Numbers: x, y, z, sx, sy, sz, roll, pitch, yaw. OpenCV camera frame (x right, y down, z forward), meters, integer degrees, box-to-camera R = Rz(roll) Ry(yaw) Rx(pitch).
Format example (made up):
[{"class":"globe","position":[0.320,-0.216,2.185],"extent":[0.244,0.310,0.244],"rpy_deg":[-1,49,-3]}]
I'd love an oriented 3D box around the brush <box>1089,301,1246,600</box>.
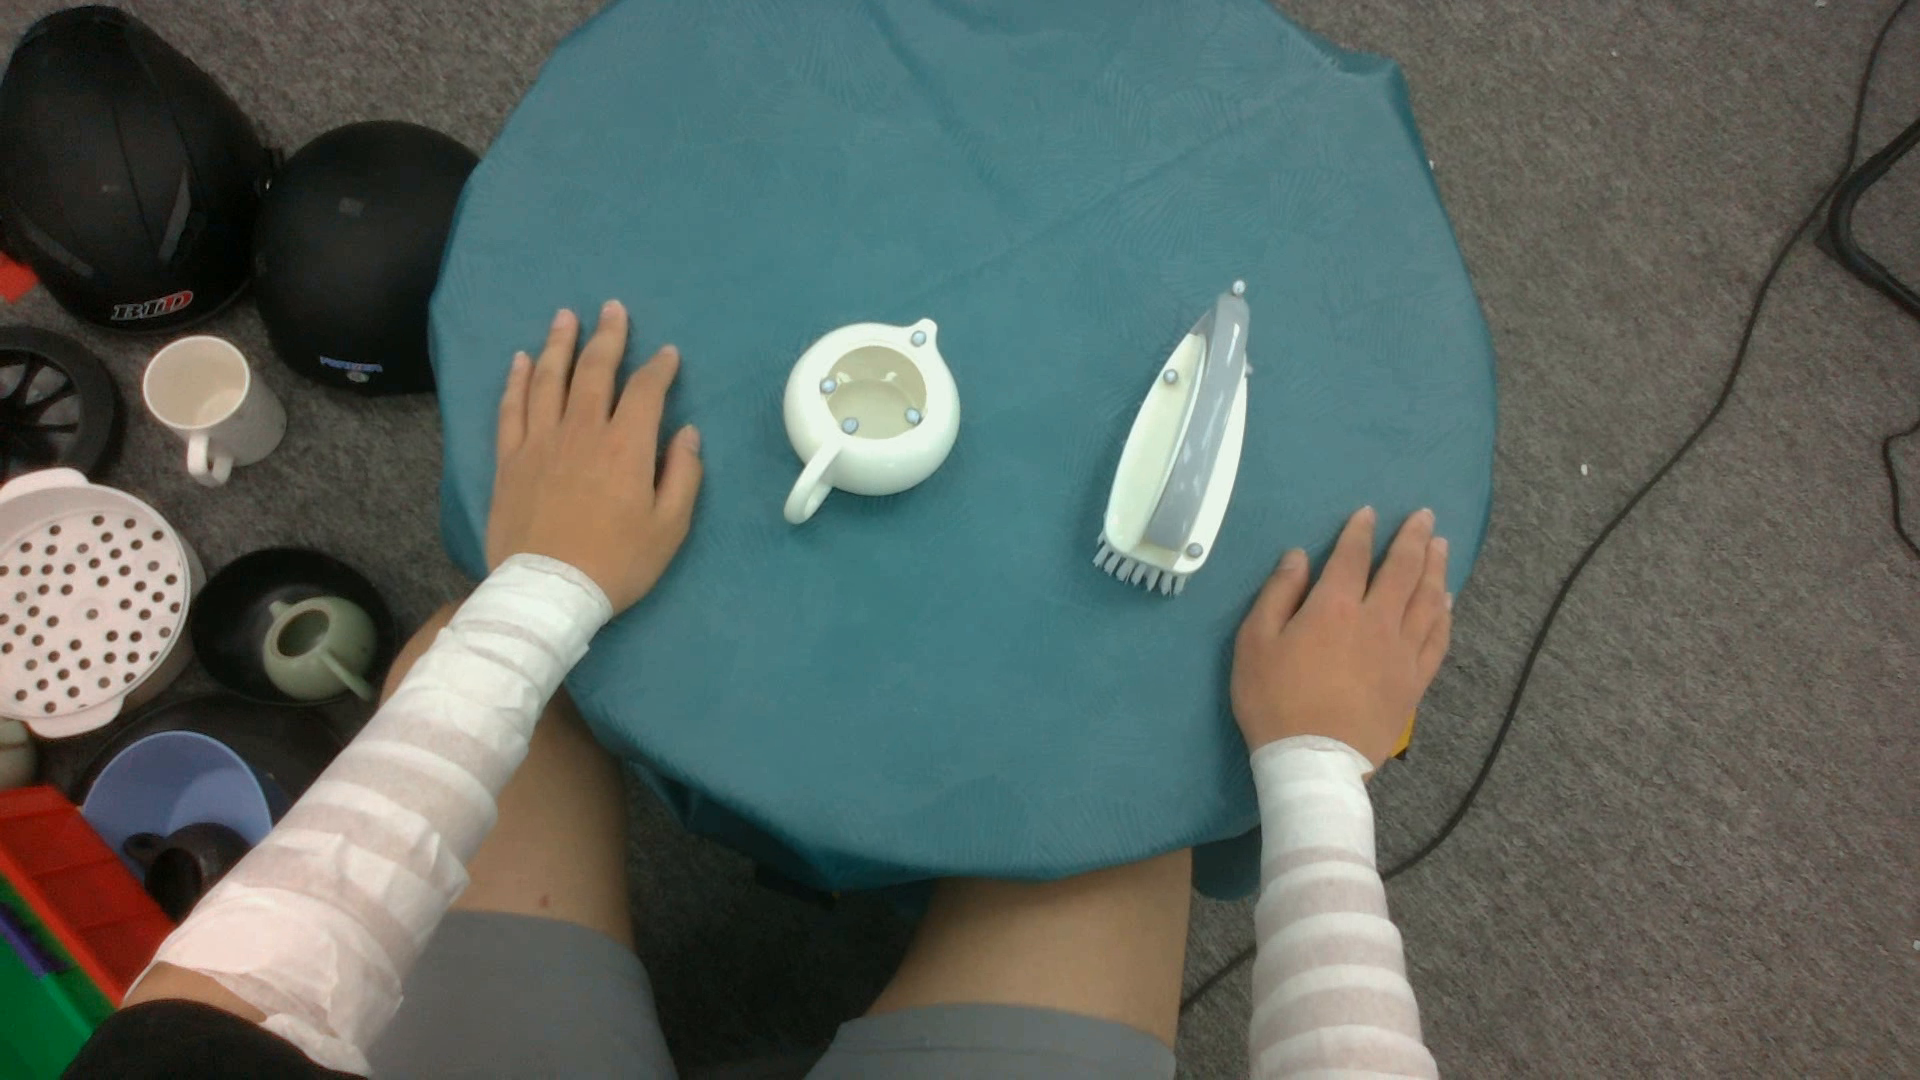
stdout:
[{"class":"brush","position":[0.125,-0.062,0.744],"extent":[0.061,0.094,0.176],"rpy_deg":[20,69,-3]}]

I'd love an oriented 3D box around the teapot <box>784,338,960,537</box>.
[{"class":"teapot","position":[-0.052,-0.053,0.737],"extent":[0.093,0.056,0.127],"rpy_deg":[33,72,1]}]
